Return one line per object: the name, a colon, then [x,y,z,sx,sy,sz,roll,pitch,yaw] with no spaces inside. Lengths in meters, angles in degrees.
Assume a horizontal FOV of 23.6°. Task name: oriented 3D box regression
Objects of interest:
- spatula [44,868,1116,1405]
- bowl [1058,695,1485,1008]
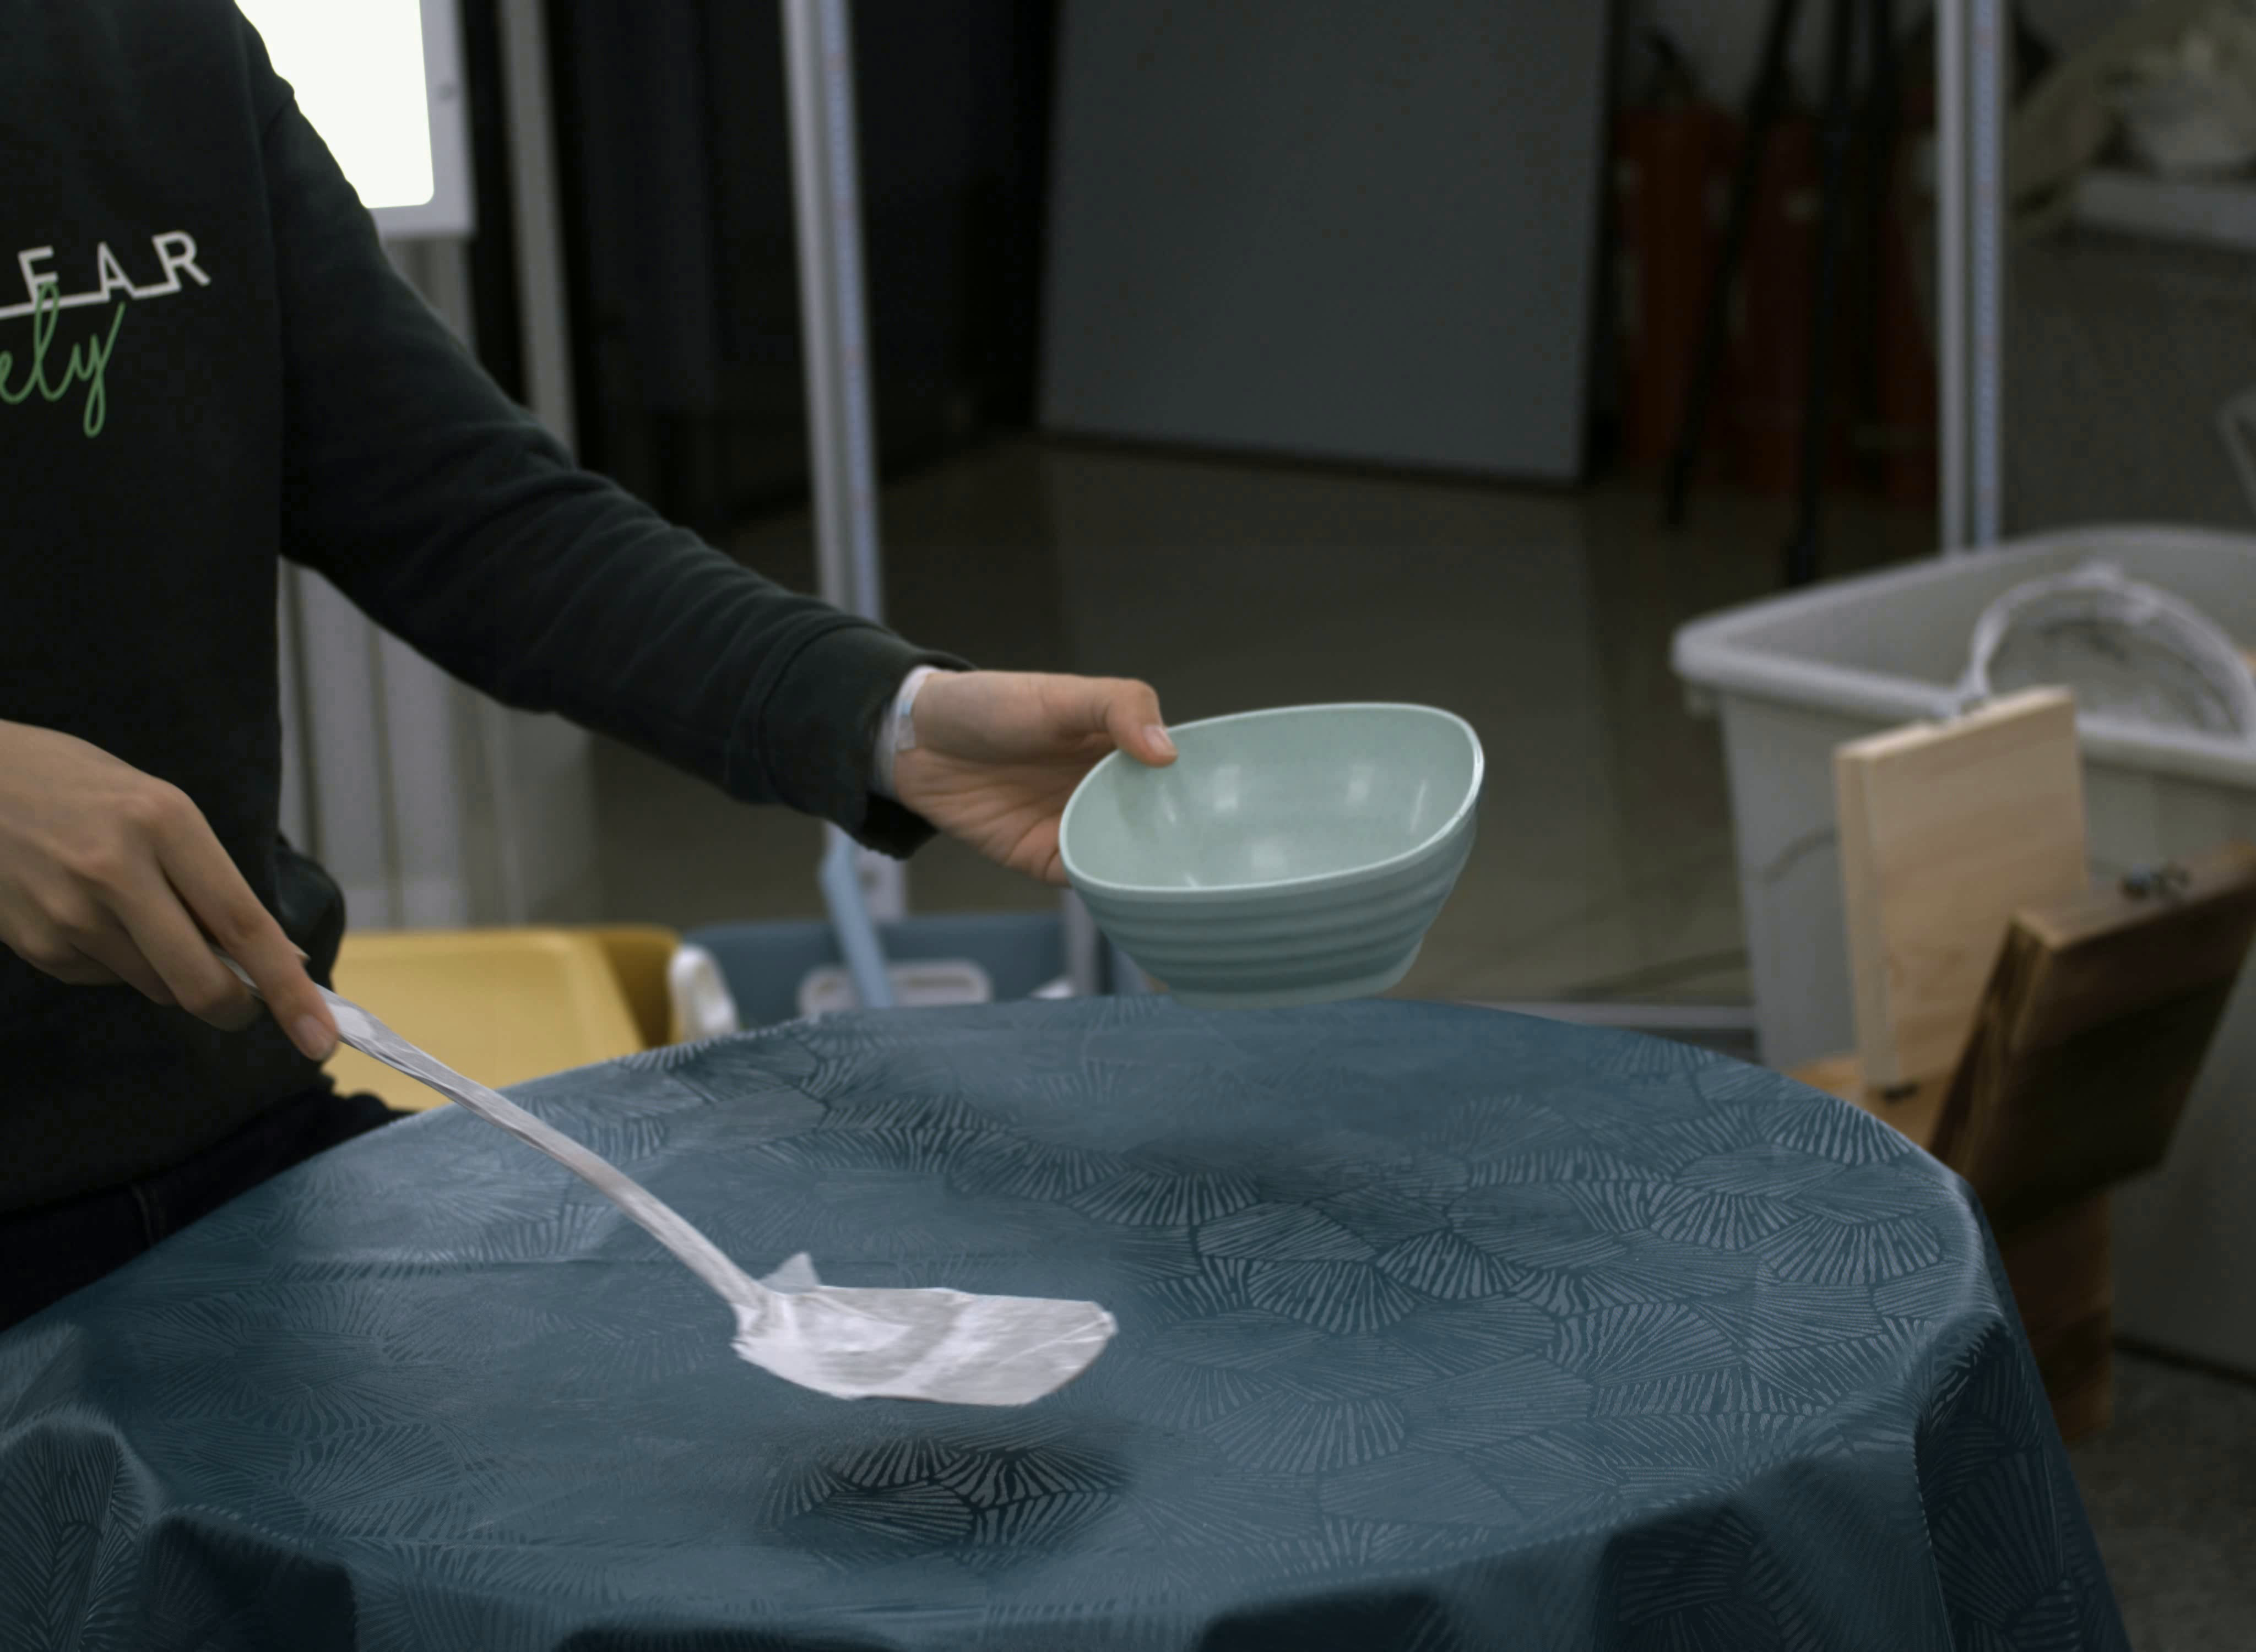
spatula: [-0.171,0.083,1.562,0.365,0.045,0.097,30,23,17]
bowl: [0.049,0.013,1.742,0.150,0.059,0.152,-8,25,3]
